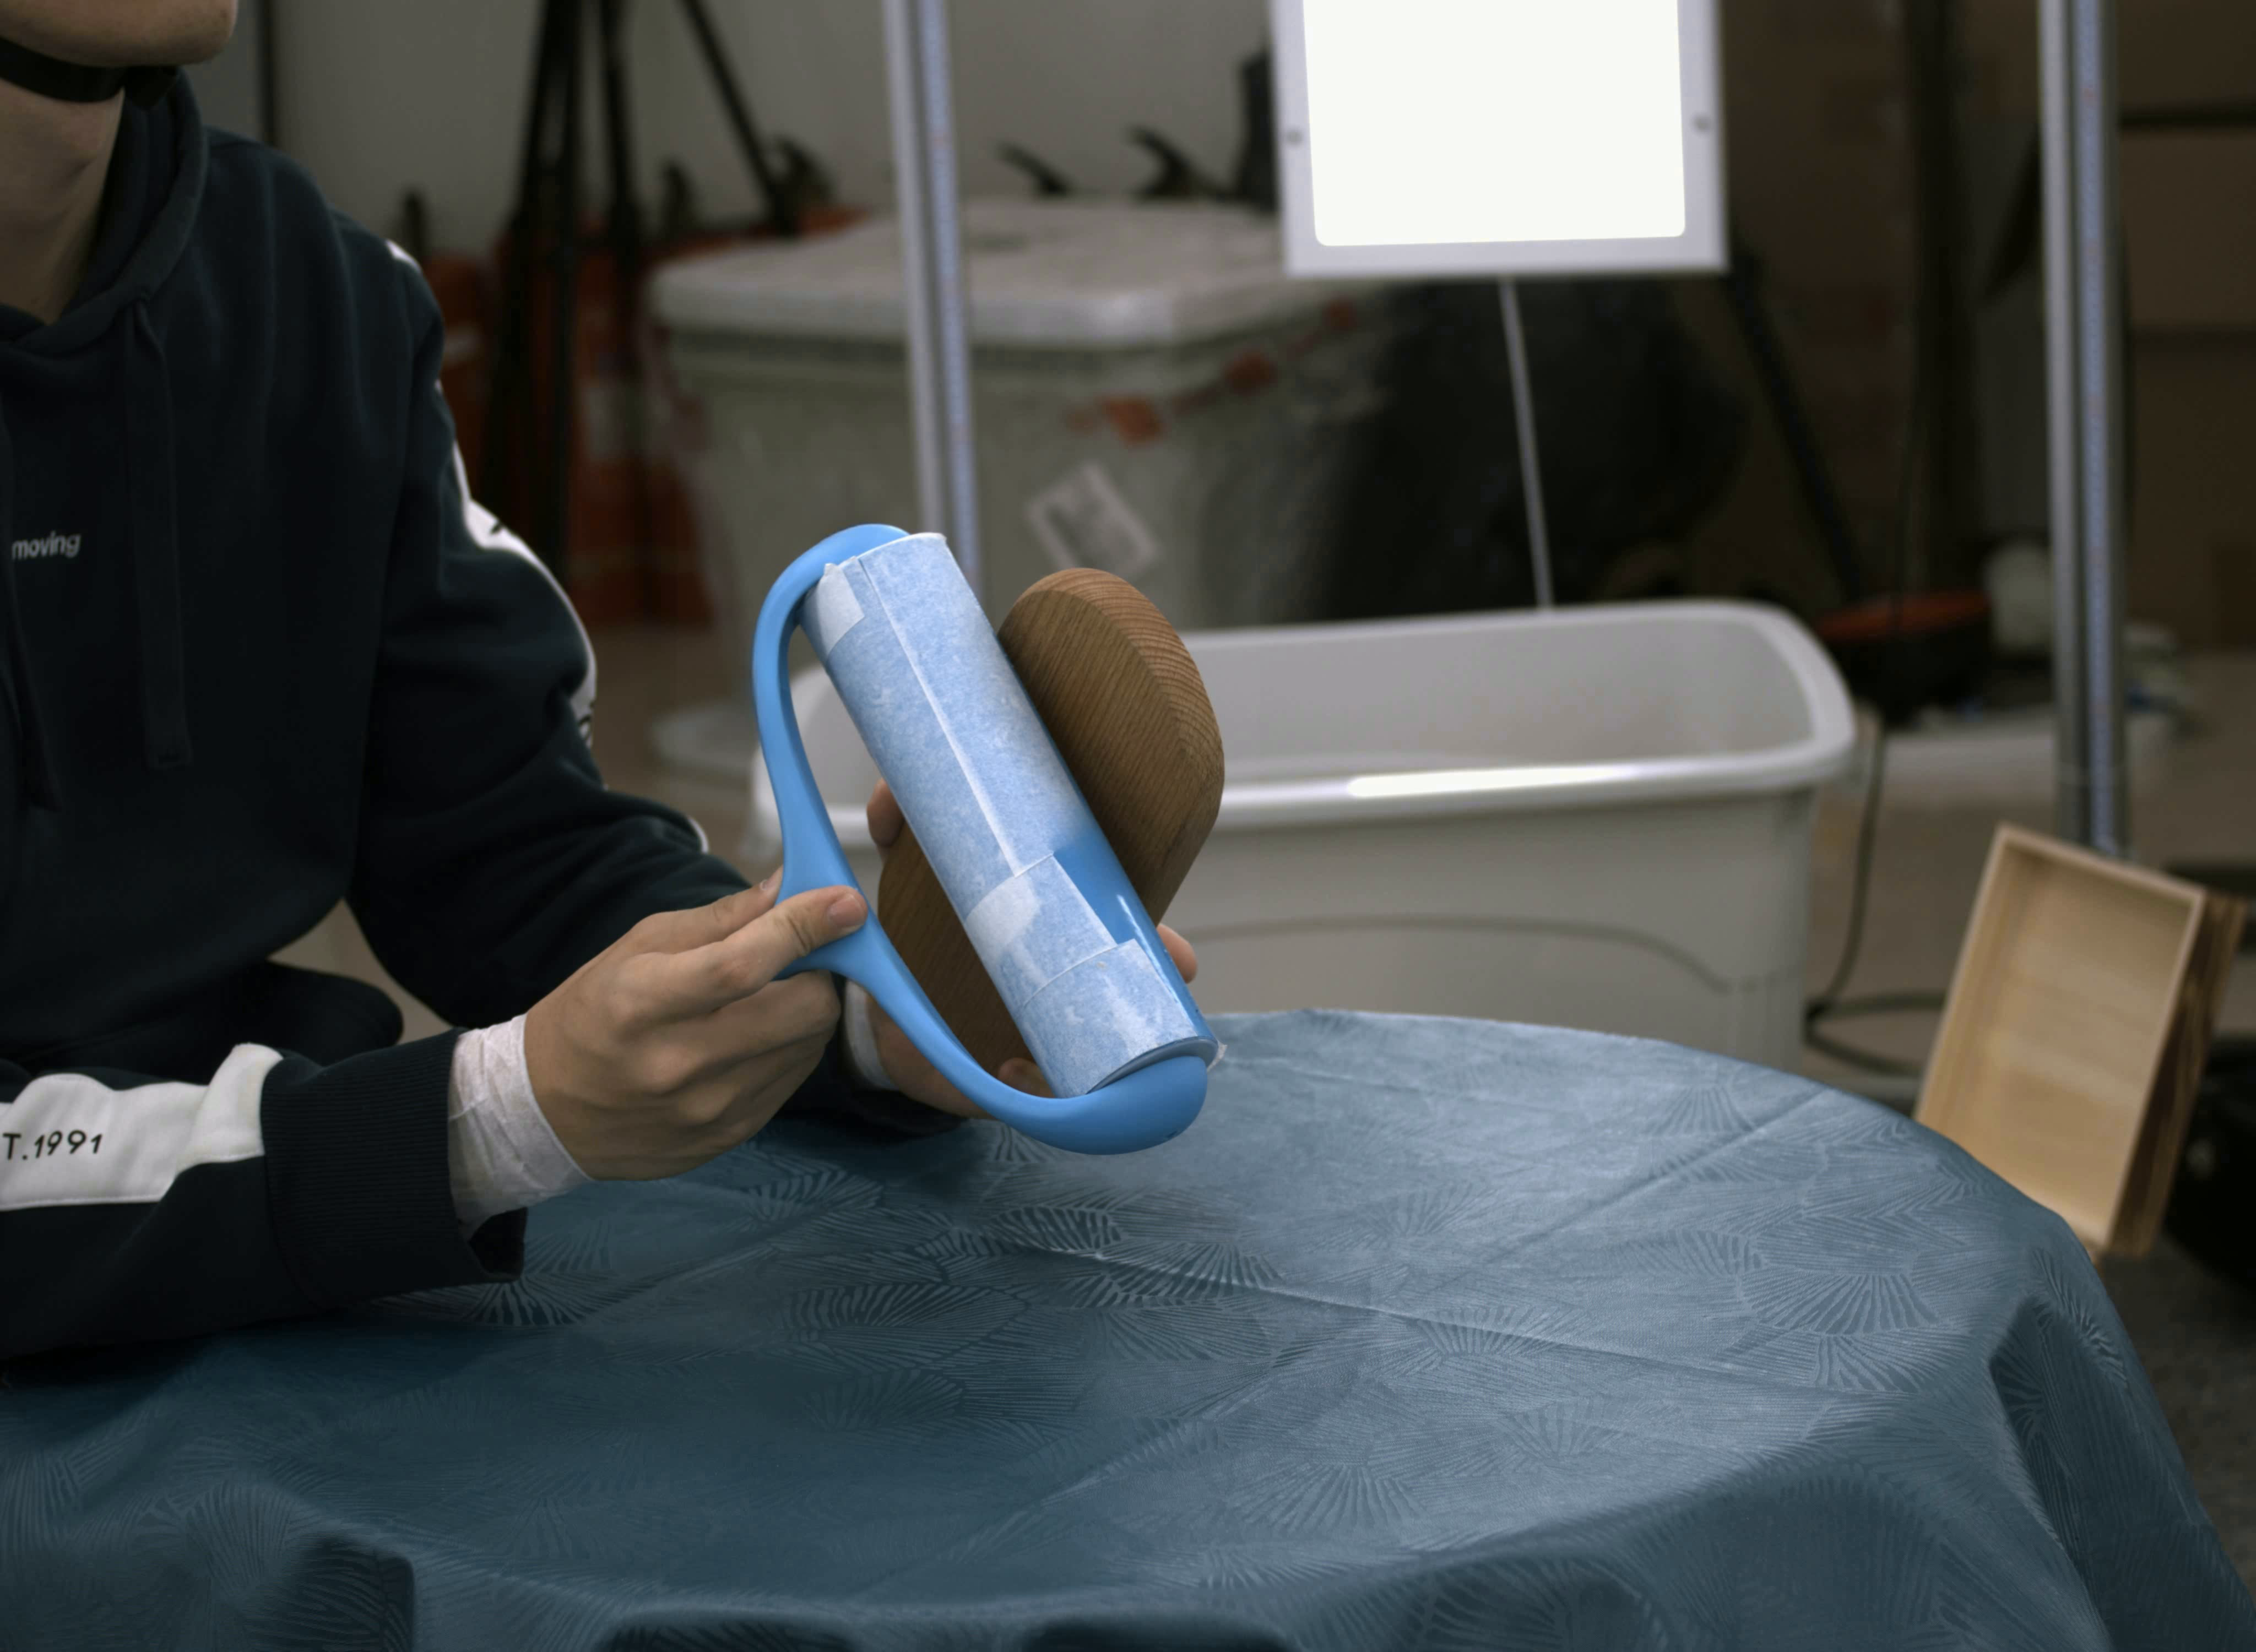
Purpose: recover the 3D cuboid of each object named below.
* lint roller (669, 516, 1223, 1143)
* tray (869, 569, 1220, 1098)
[{"bbox_3d":[-0.085,0.033,1.753,0.182,0.230,0.067,-38,-20,16],"label":"lint roller"},{"bbox_3d":[-0.031,0.006,1.798,0.020,0.235,0.102,-21,66,-35],"label":"tray"}]
